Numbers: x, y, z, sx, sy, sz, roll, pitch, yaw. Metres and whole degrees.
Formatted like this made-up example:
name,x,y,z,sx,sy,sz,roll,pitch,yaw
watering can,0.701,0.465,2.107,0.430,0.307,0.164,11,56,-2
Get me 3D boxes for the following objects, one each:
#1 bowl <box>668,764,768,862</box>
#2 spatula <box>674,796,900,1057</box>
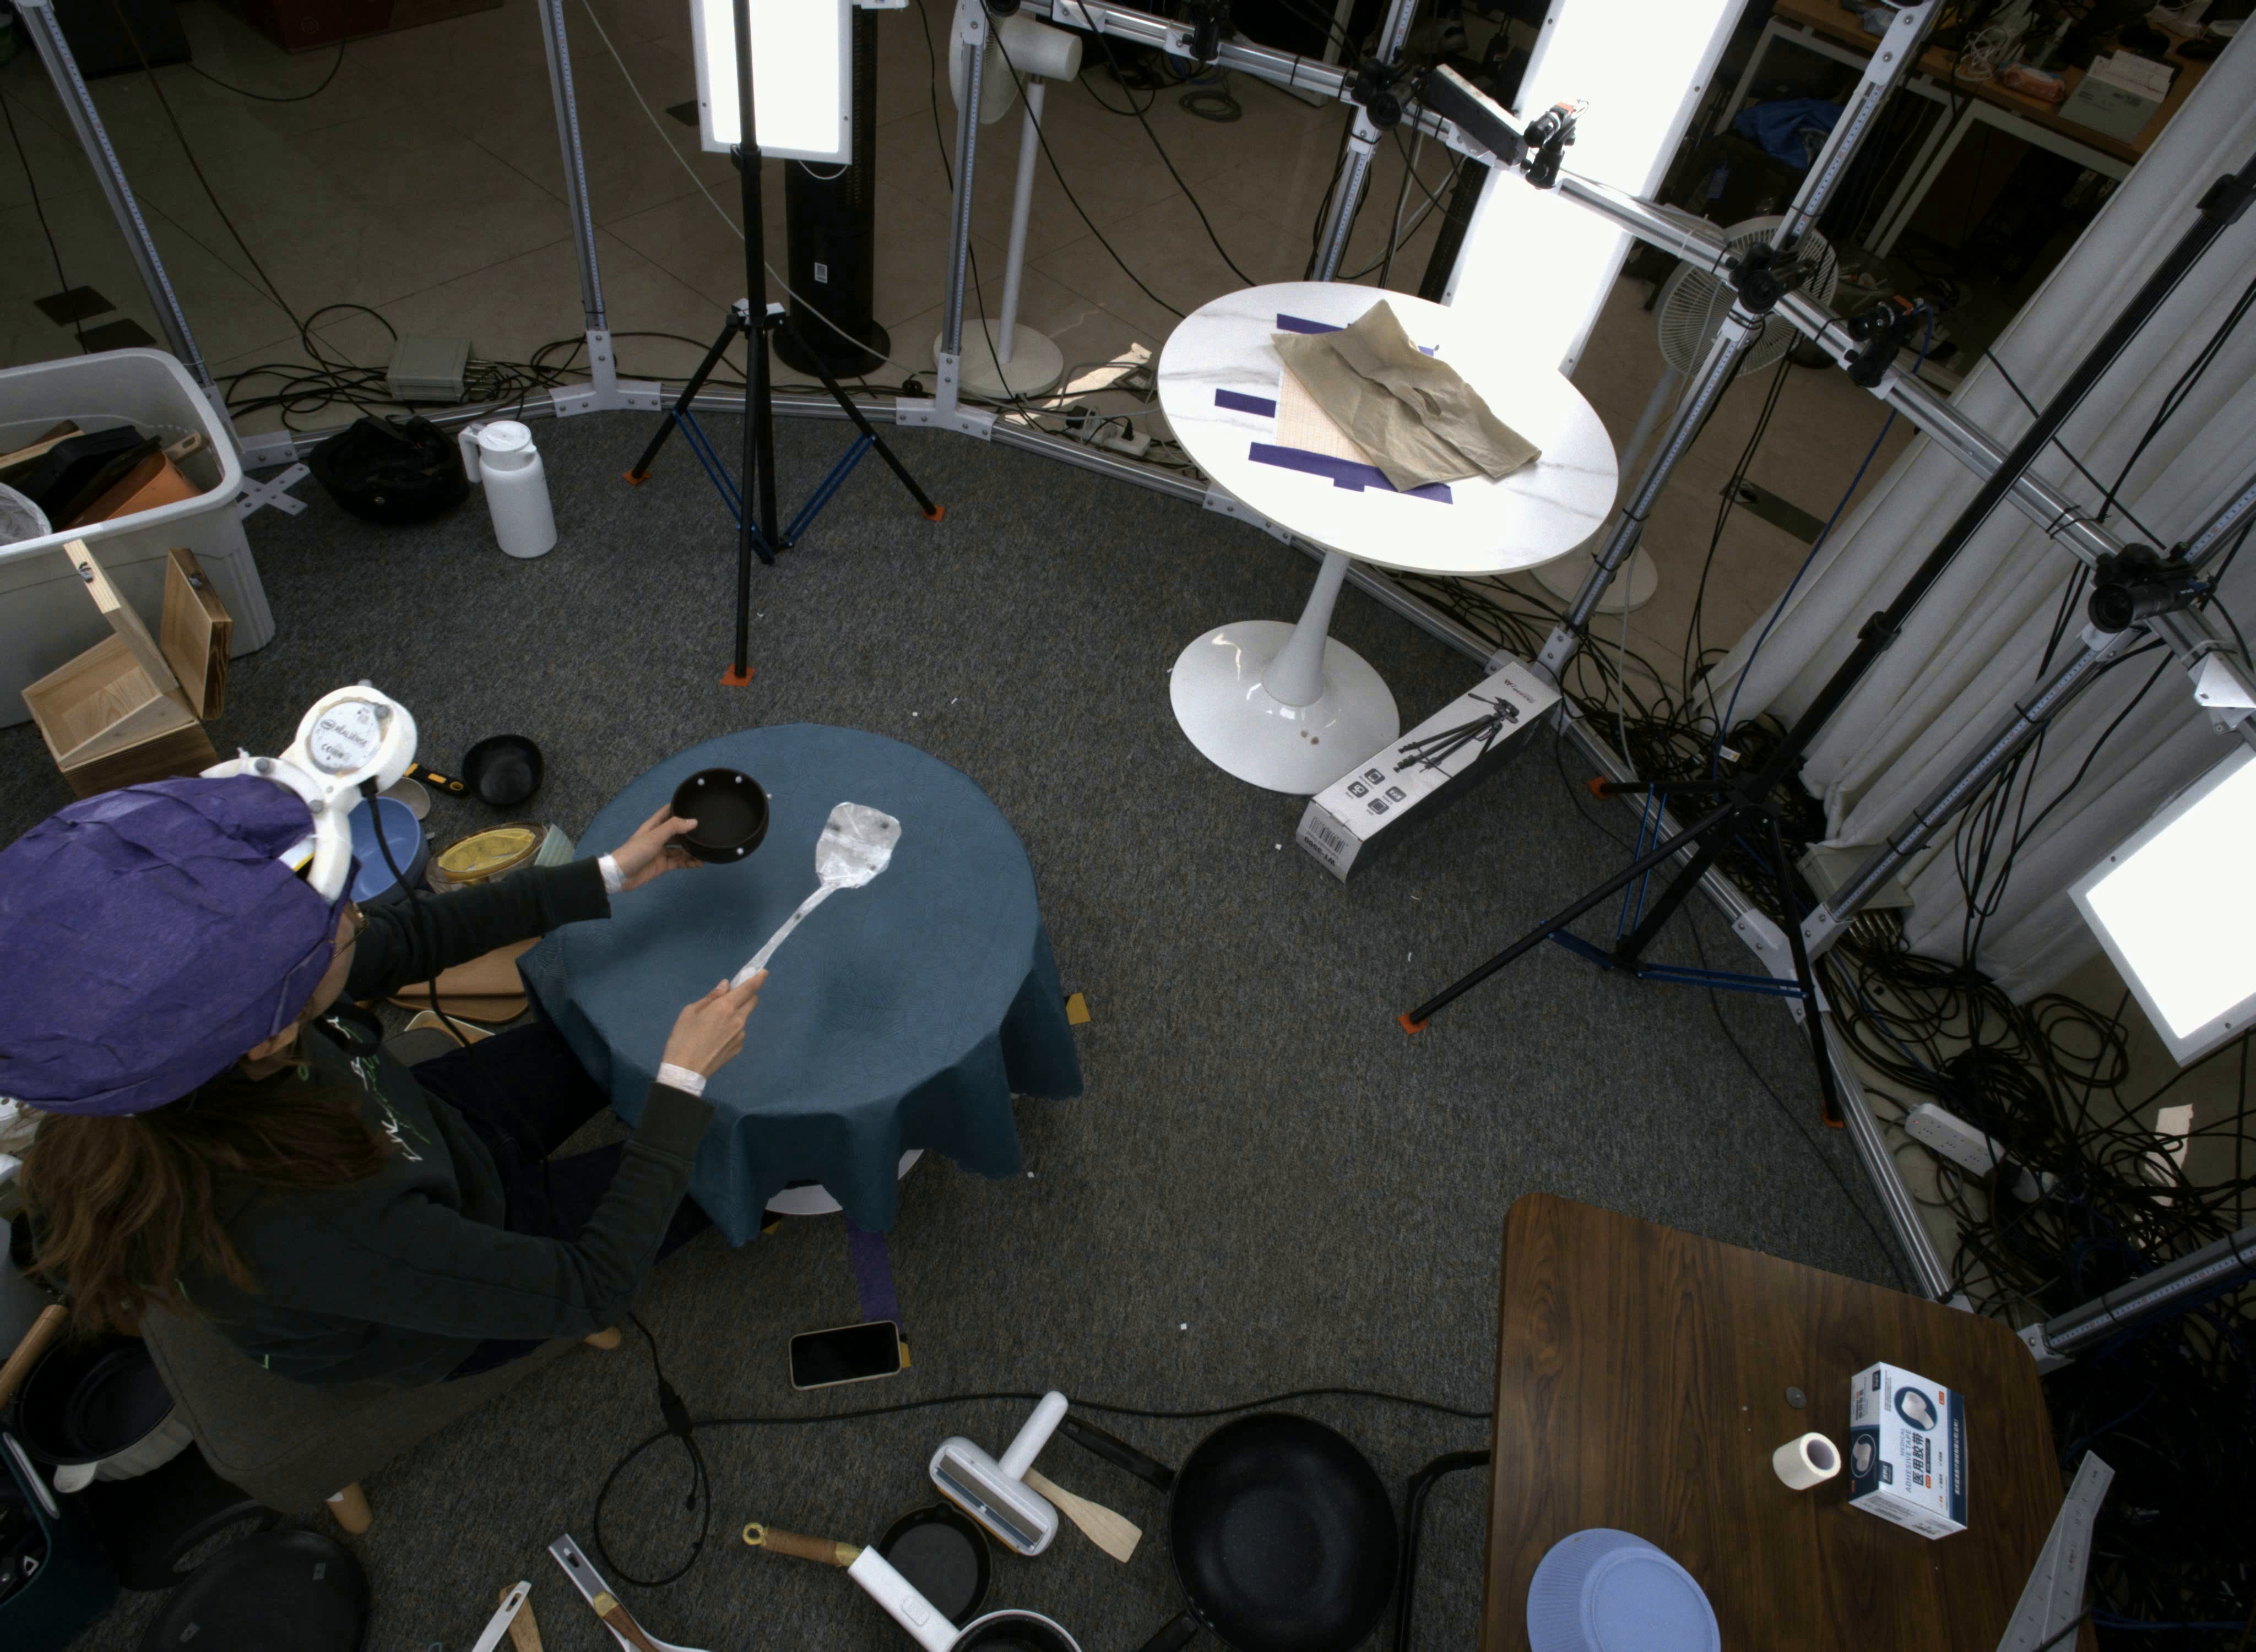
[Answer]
name,x,y,z,sx,sy,sz,roll,pitch,yaw
bowl,-0.496,-0.009,1.569,0.118,0.071,0.116,7,58,-10
spatula,-0.381,0.106,1.430,0.096,0.046,0.363,22,53,18
